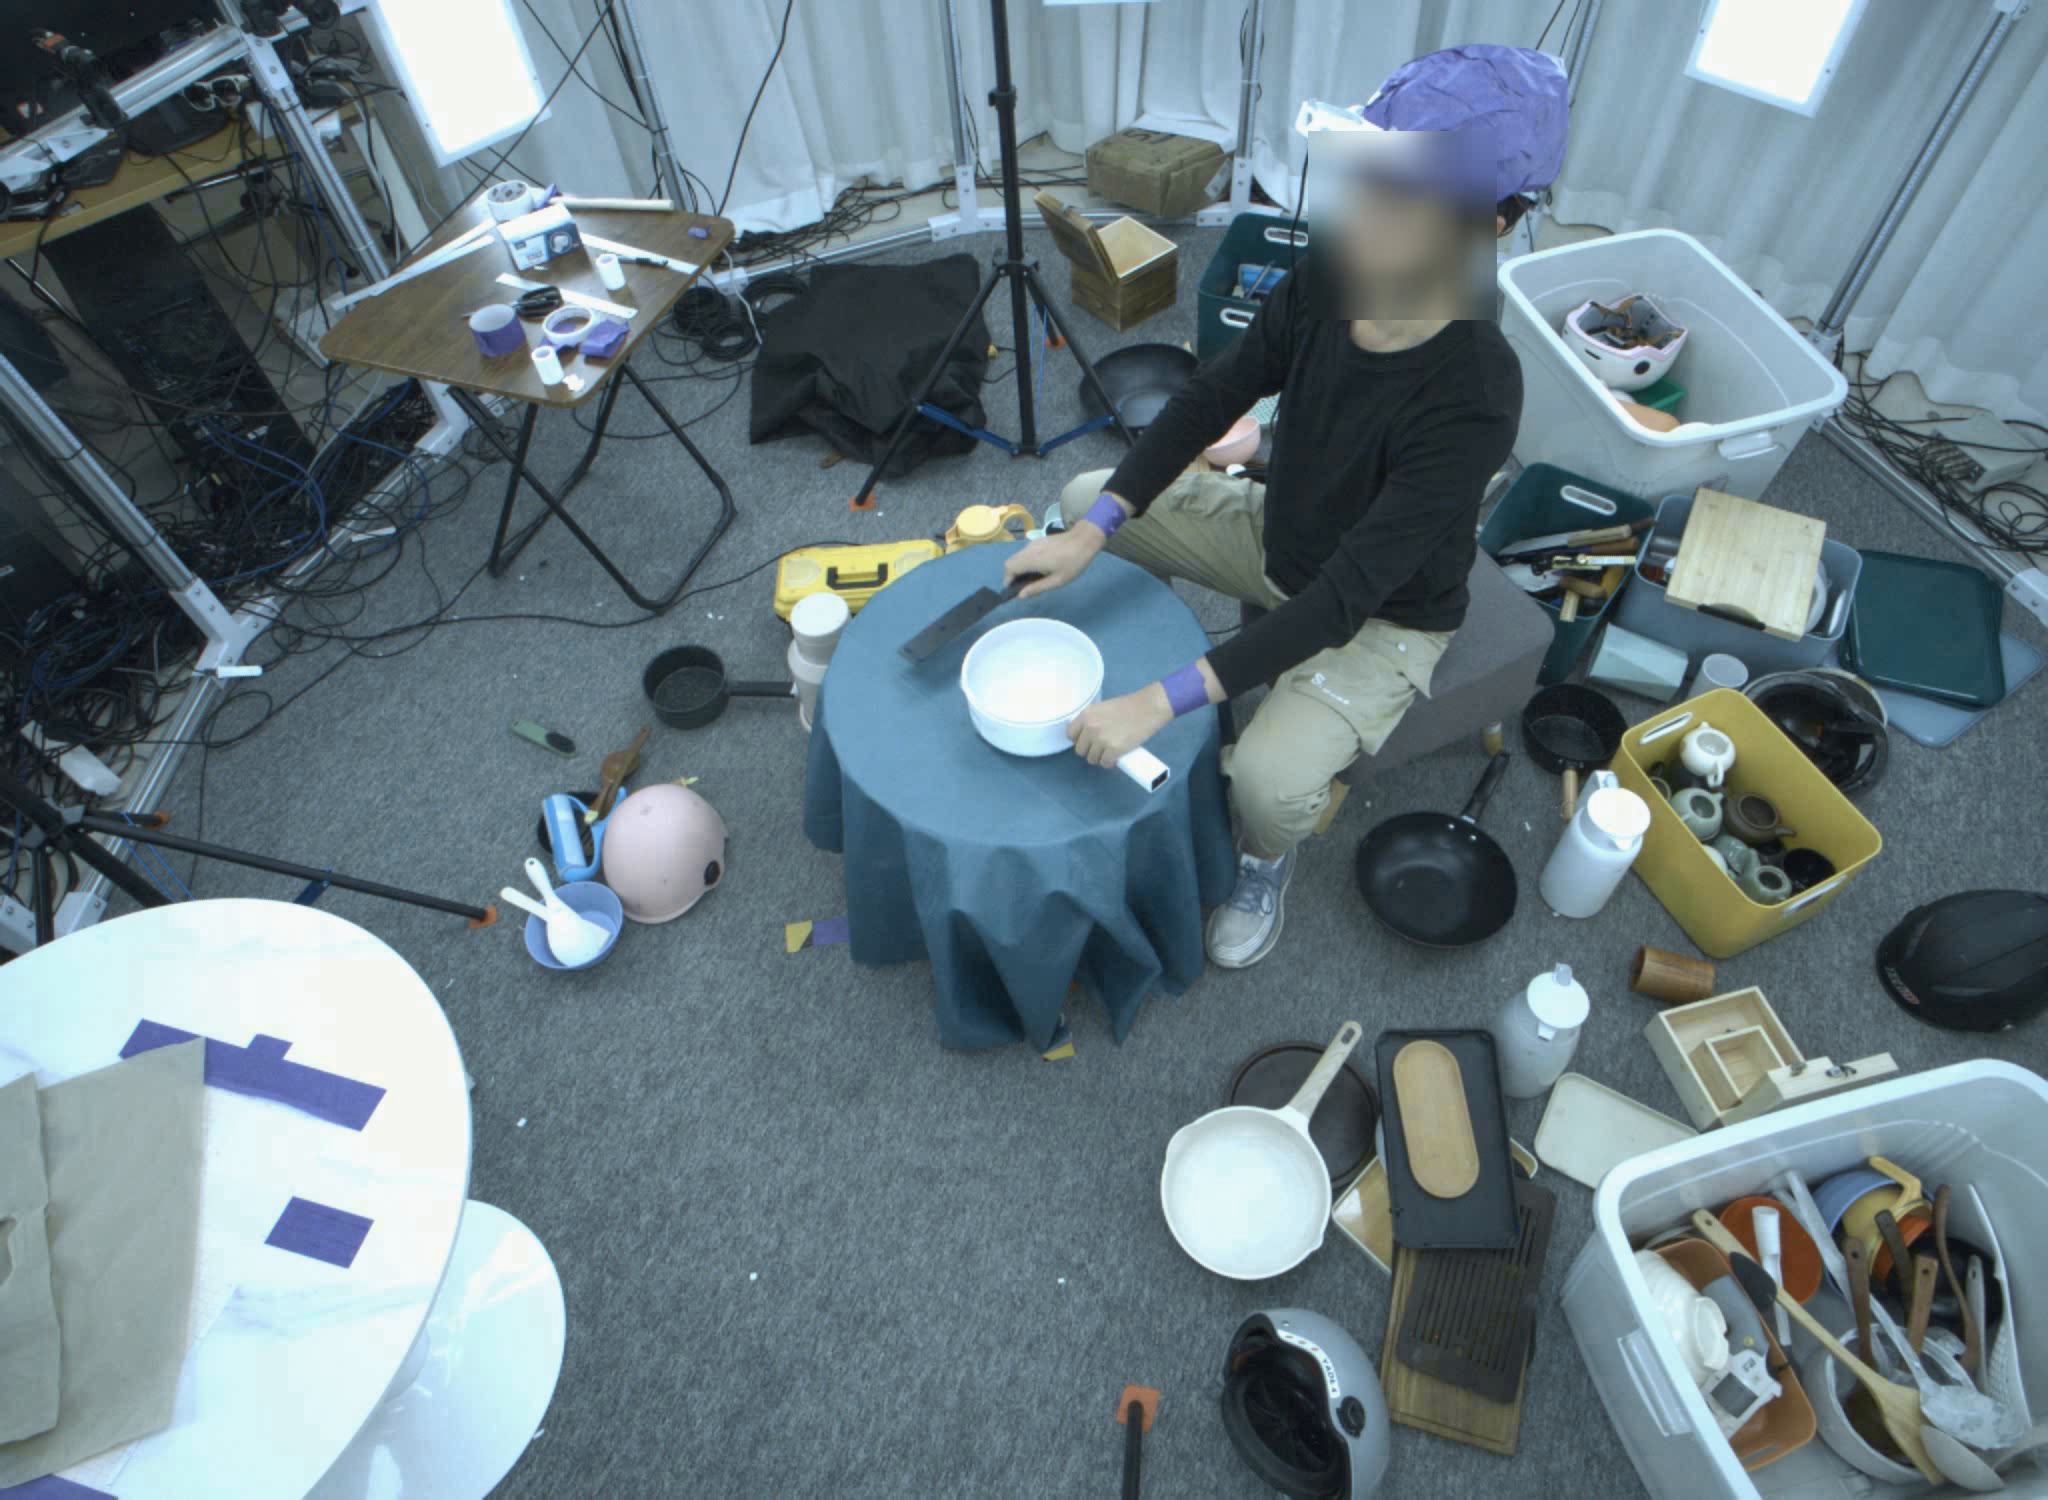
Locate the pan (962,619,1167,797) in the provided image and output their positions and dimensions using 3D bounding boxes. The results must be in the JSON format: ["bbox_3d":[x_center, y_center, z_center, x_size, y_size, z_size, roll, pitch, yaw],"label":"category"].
[{"bbox_3d":[0.065,-0.039,1.750,0.203,0.103,0.348,-37,62,-22],"label":"pan"}]

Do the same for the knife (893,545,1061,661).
[{"bbox_3d":[-0.067,-0.228,1.871,0.304,0.021,0.079,-34,42,-14],"label":"knife"}]
